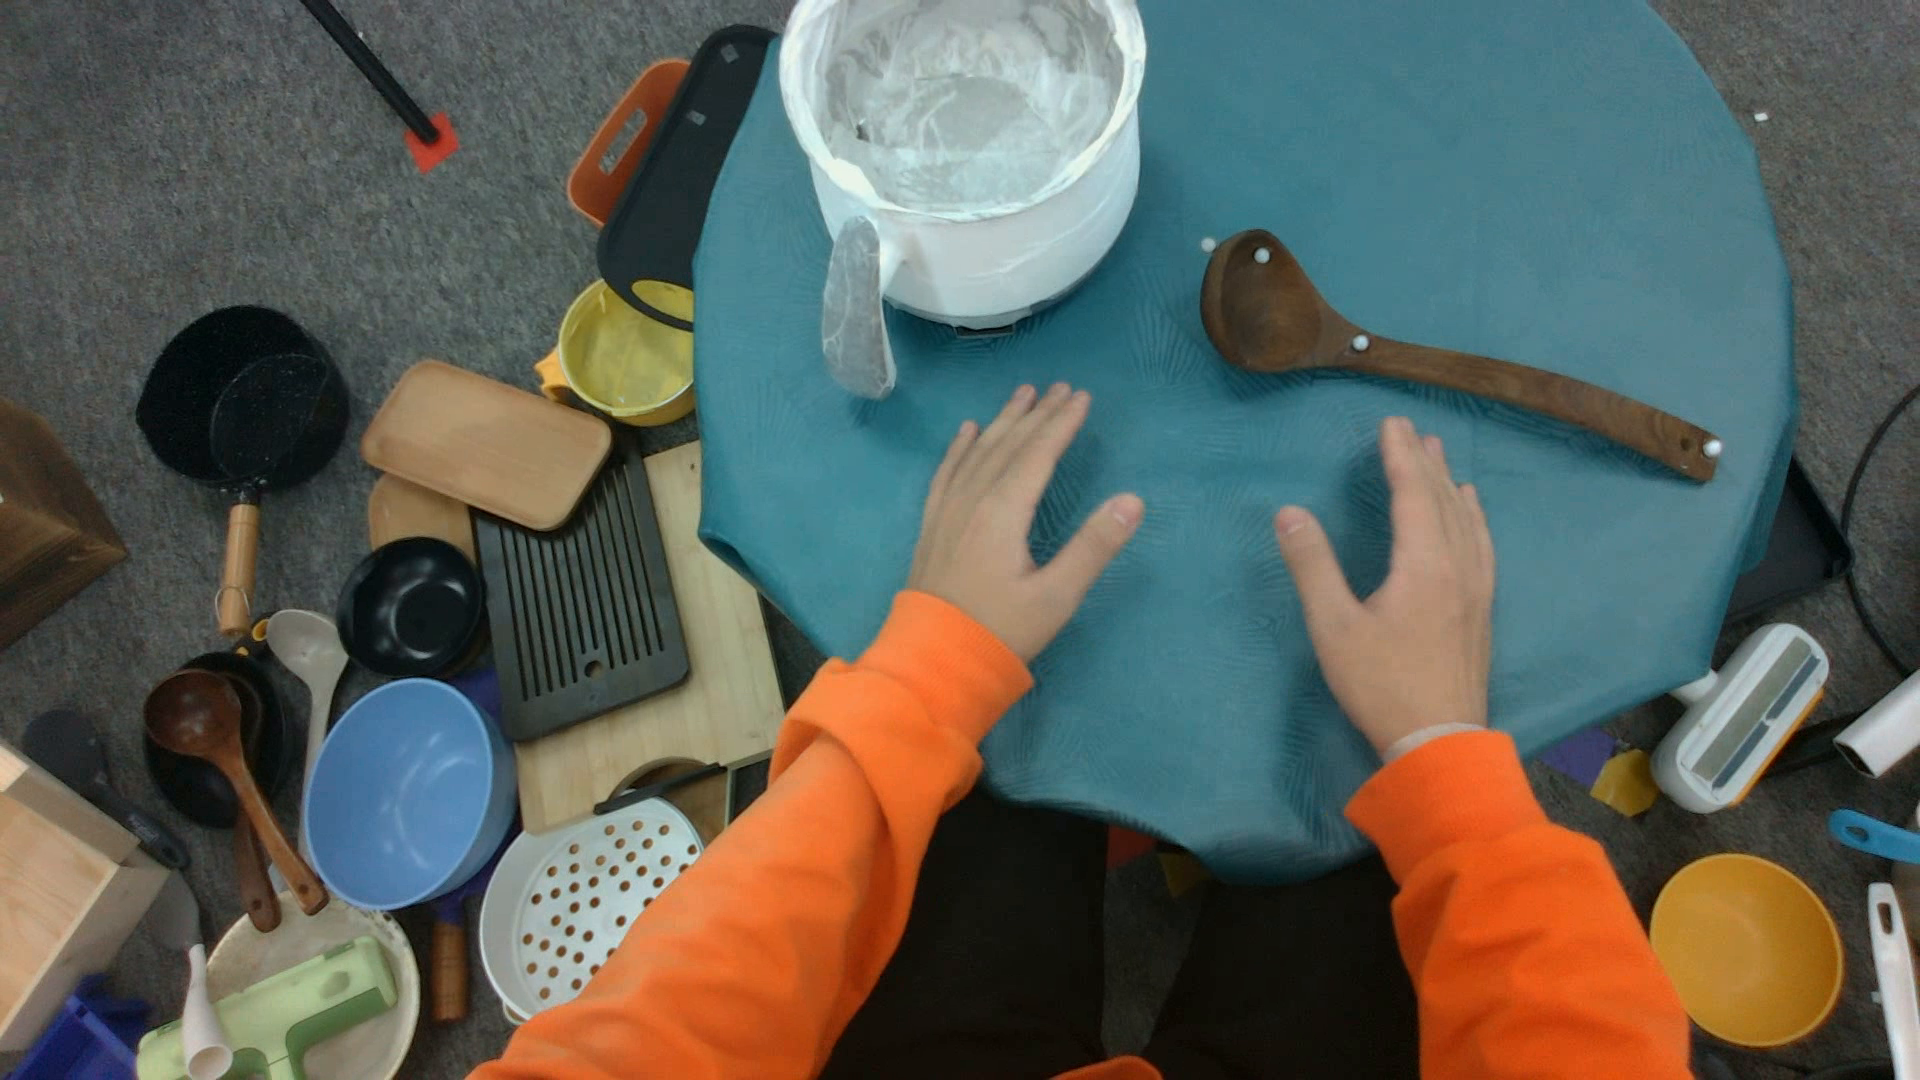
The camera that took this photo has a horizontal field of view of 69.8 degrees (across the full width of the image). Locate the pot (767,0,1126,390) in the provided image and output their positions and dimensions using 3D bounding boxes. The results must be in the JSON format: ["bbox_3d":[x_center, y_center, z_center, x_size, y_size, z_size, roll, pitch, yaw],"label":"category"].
[{"bbox_3d":[-0.014,-0.195,0.723,0.178,0.136,0.234,24,76,12],"label":"pot"}]

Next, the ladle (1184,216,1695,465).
[{"bbox_3d":[0.249,-0.099,0.708,0.274,0.071,0.076,18,78,11],"label":"ladle"}]
